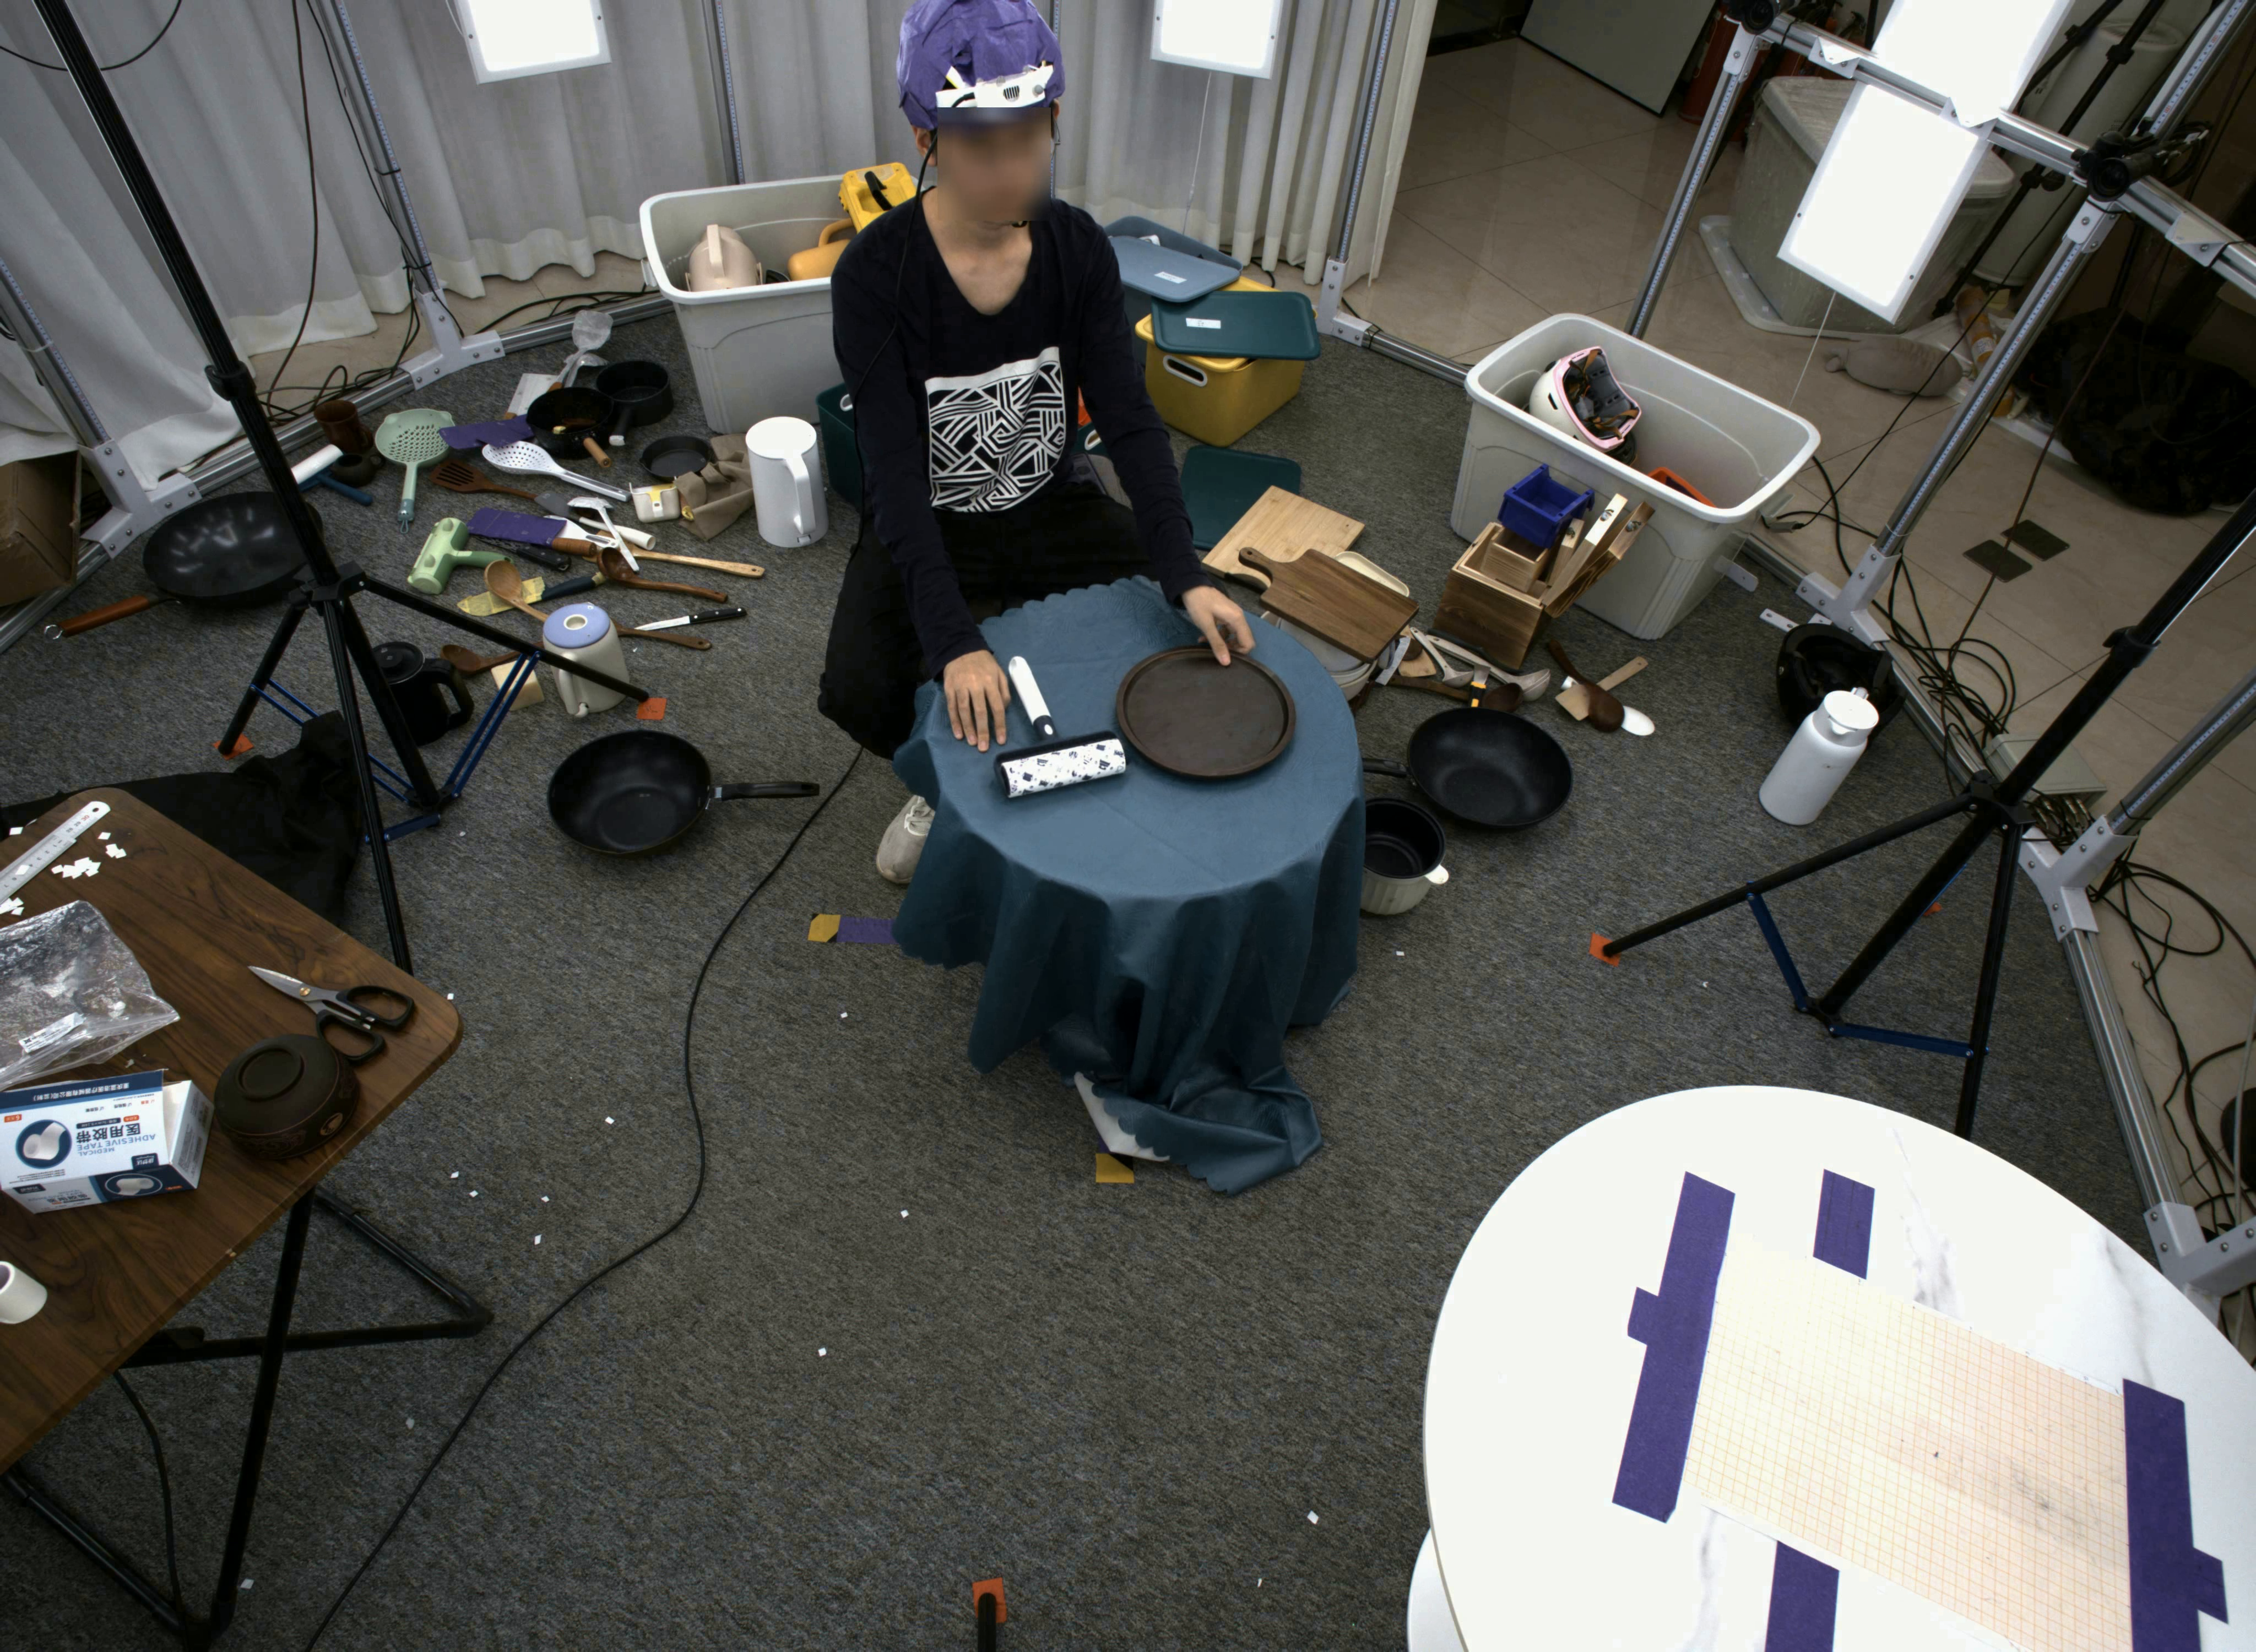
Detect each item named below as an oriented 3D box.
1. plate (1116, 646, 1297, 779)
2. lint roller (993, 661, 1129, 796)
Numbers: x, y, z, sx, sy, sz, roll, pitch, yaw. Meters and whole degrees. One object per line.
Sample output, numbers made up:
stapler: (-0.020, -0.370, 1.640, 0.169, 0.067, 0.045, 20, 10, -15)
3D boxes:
plate: (0.109, -0.160, 1.798, 0.254, 0.028, 0.261, 1, 48, -2)
lint roller: (-0.122, -0.150, 1.763, 0.176, 0.049, 0.253, -14, 50, -14)
